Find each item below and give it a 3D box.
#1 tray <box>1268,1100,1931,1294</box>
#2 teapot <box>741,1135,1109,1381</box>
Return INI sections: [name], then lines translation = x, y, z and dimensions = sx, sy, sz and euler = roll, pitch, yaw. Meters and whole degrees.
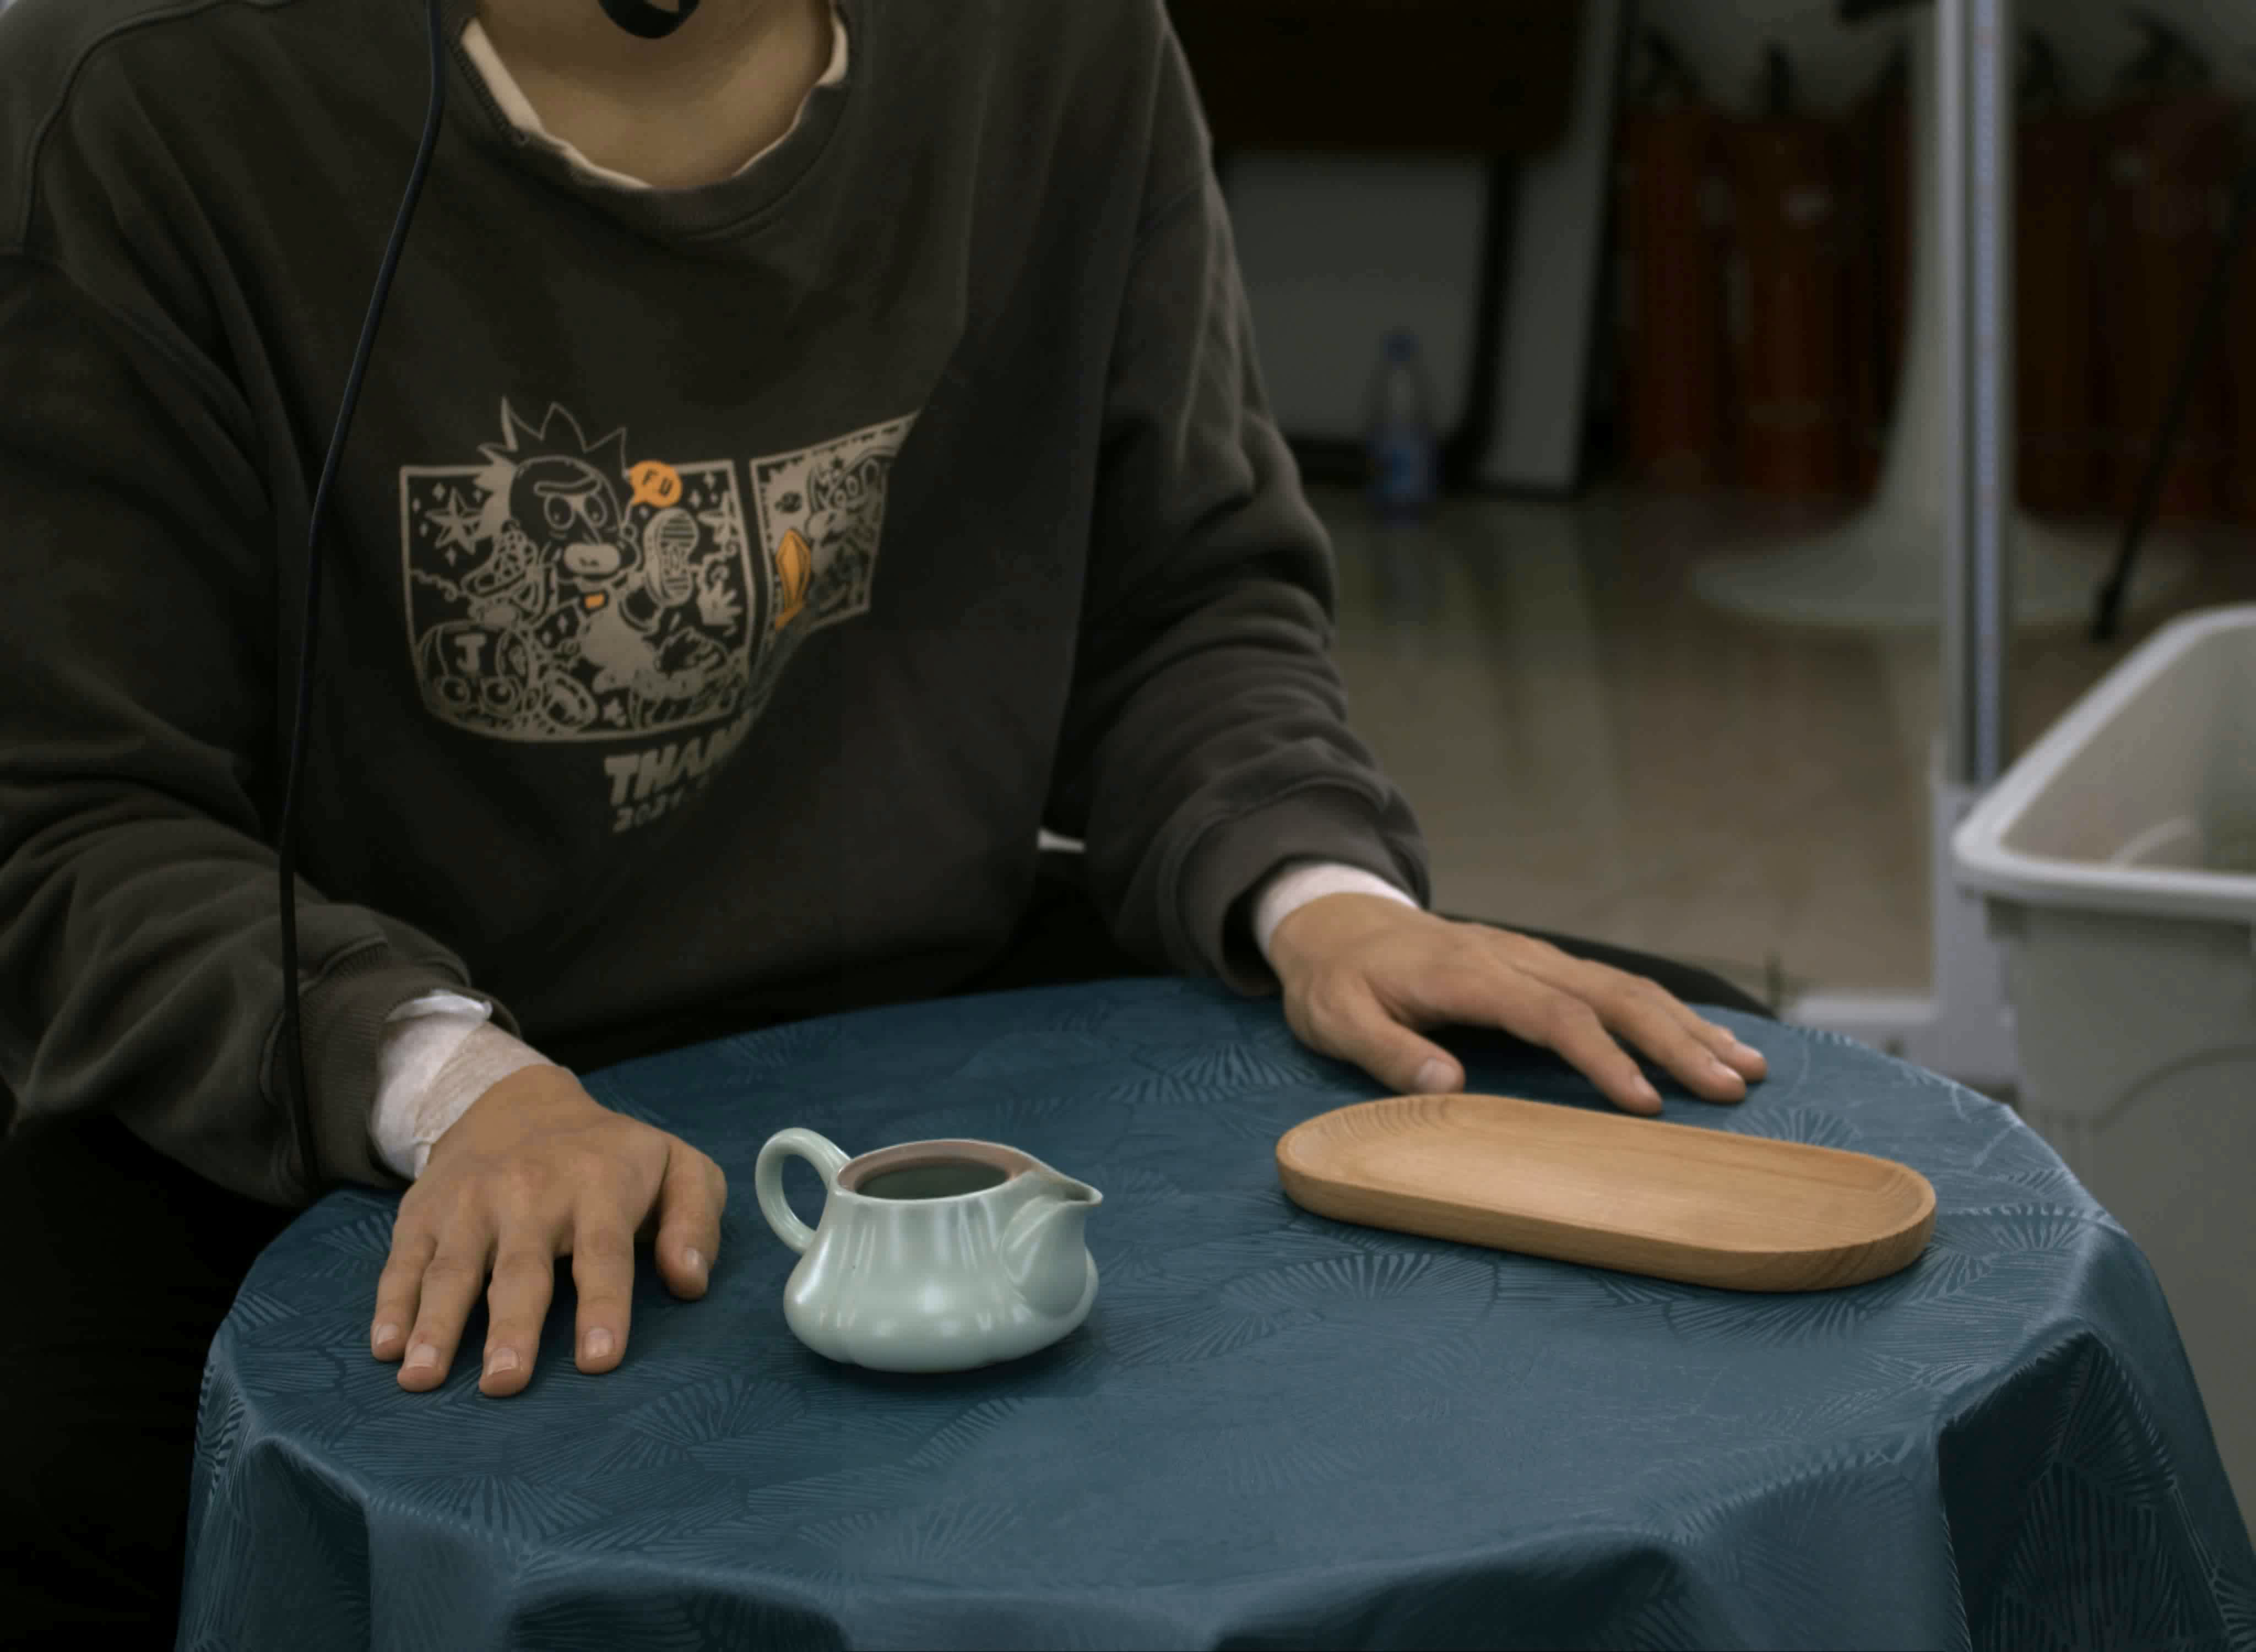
[tray]
translation = 0.148, 0.117, 1.713
dimensions = 0.233, 0.020, 0.100
euler = 5, 16, 37
[teapot]
translation = -0.061, 0.130, 1.633
dimensions = 0.138, 0.062, 0.094
euler = 7, 18, 36
